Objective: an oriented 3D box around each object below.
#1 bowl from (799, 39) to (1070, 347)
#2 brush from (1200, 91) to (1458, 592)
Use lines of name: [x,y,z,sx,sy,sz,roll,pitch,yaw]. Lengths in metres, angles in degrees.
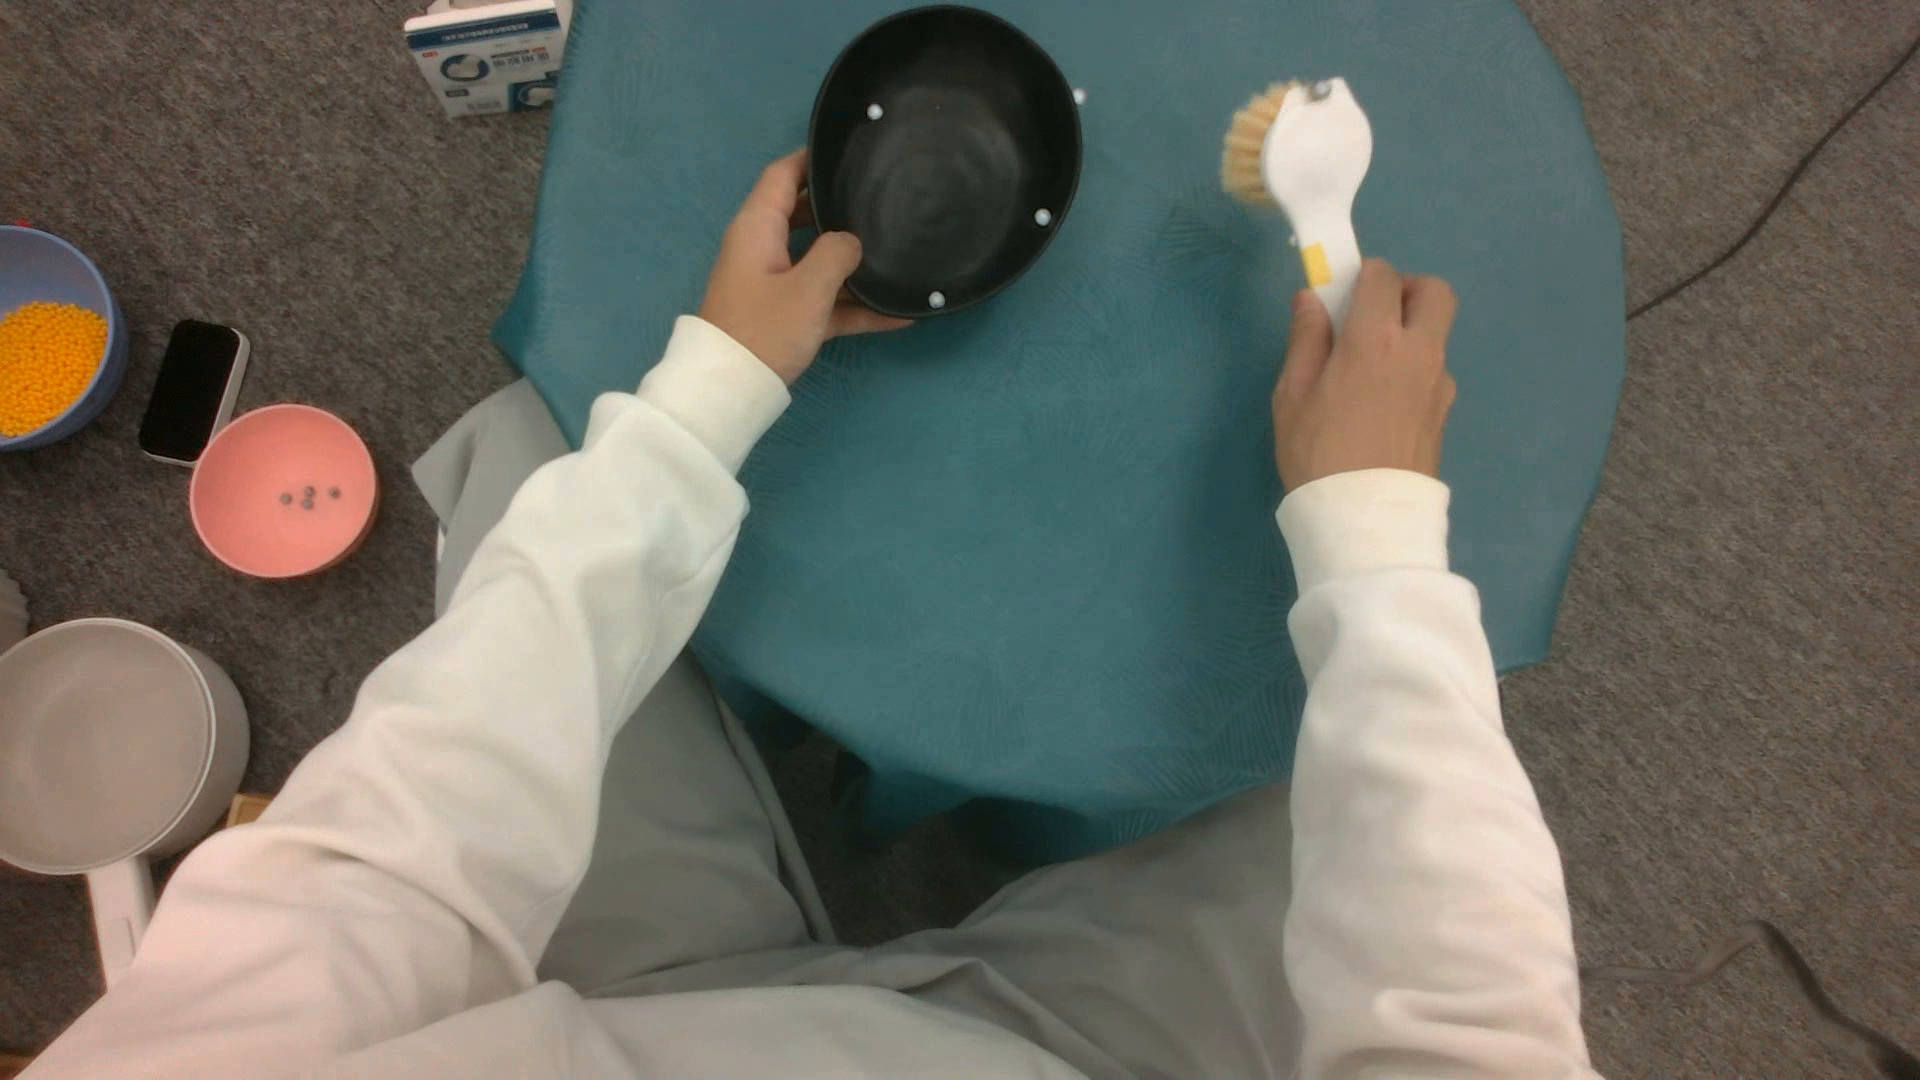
bowl: [-0.016,-0.177,0.733,0.137,0.066,0.170,17,79,-4]
brush: [0.194,-0.099,0.708,0.068,0.056,0.266,-23,100,-6]
